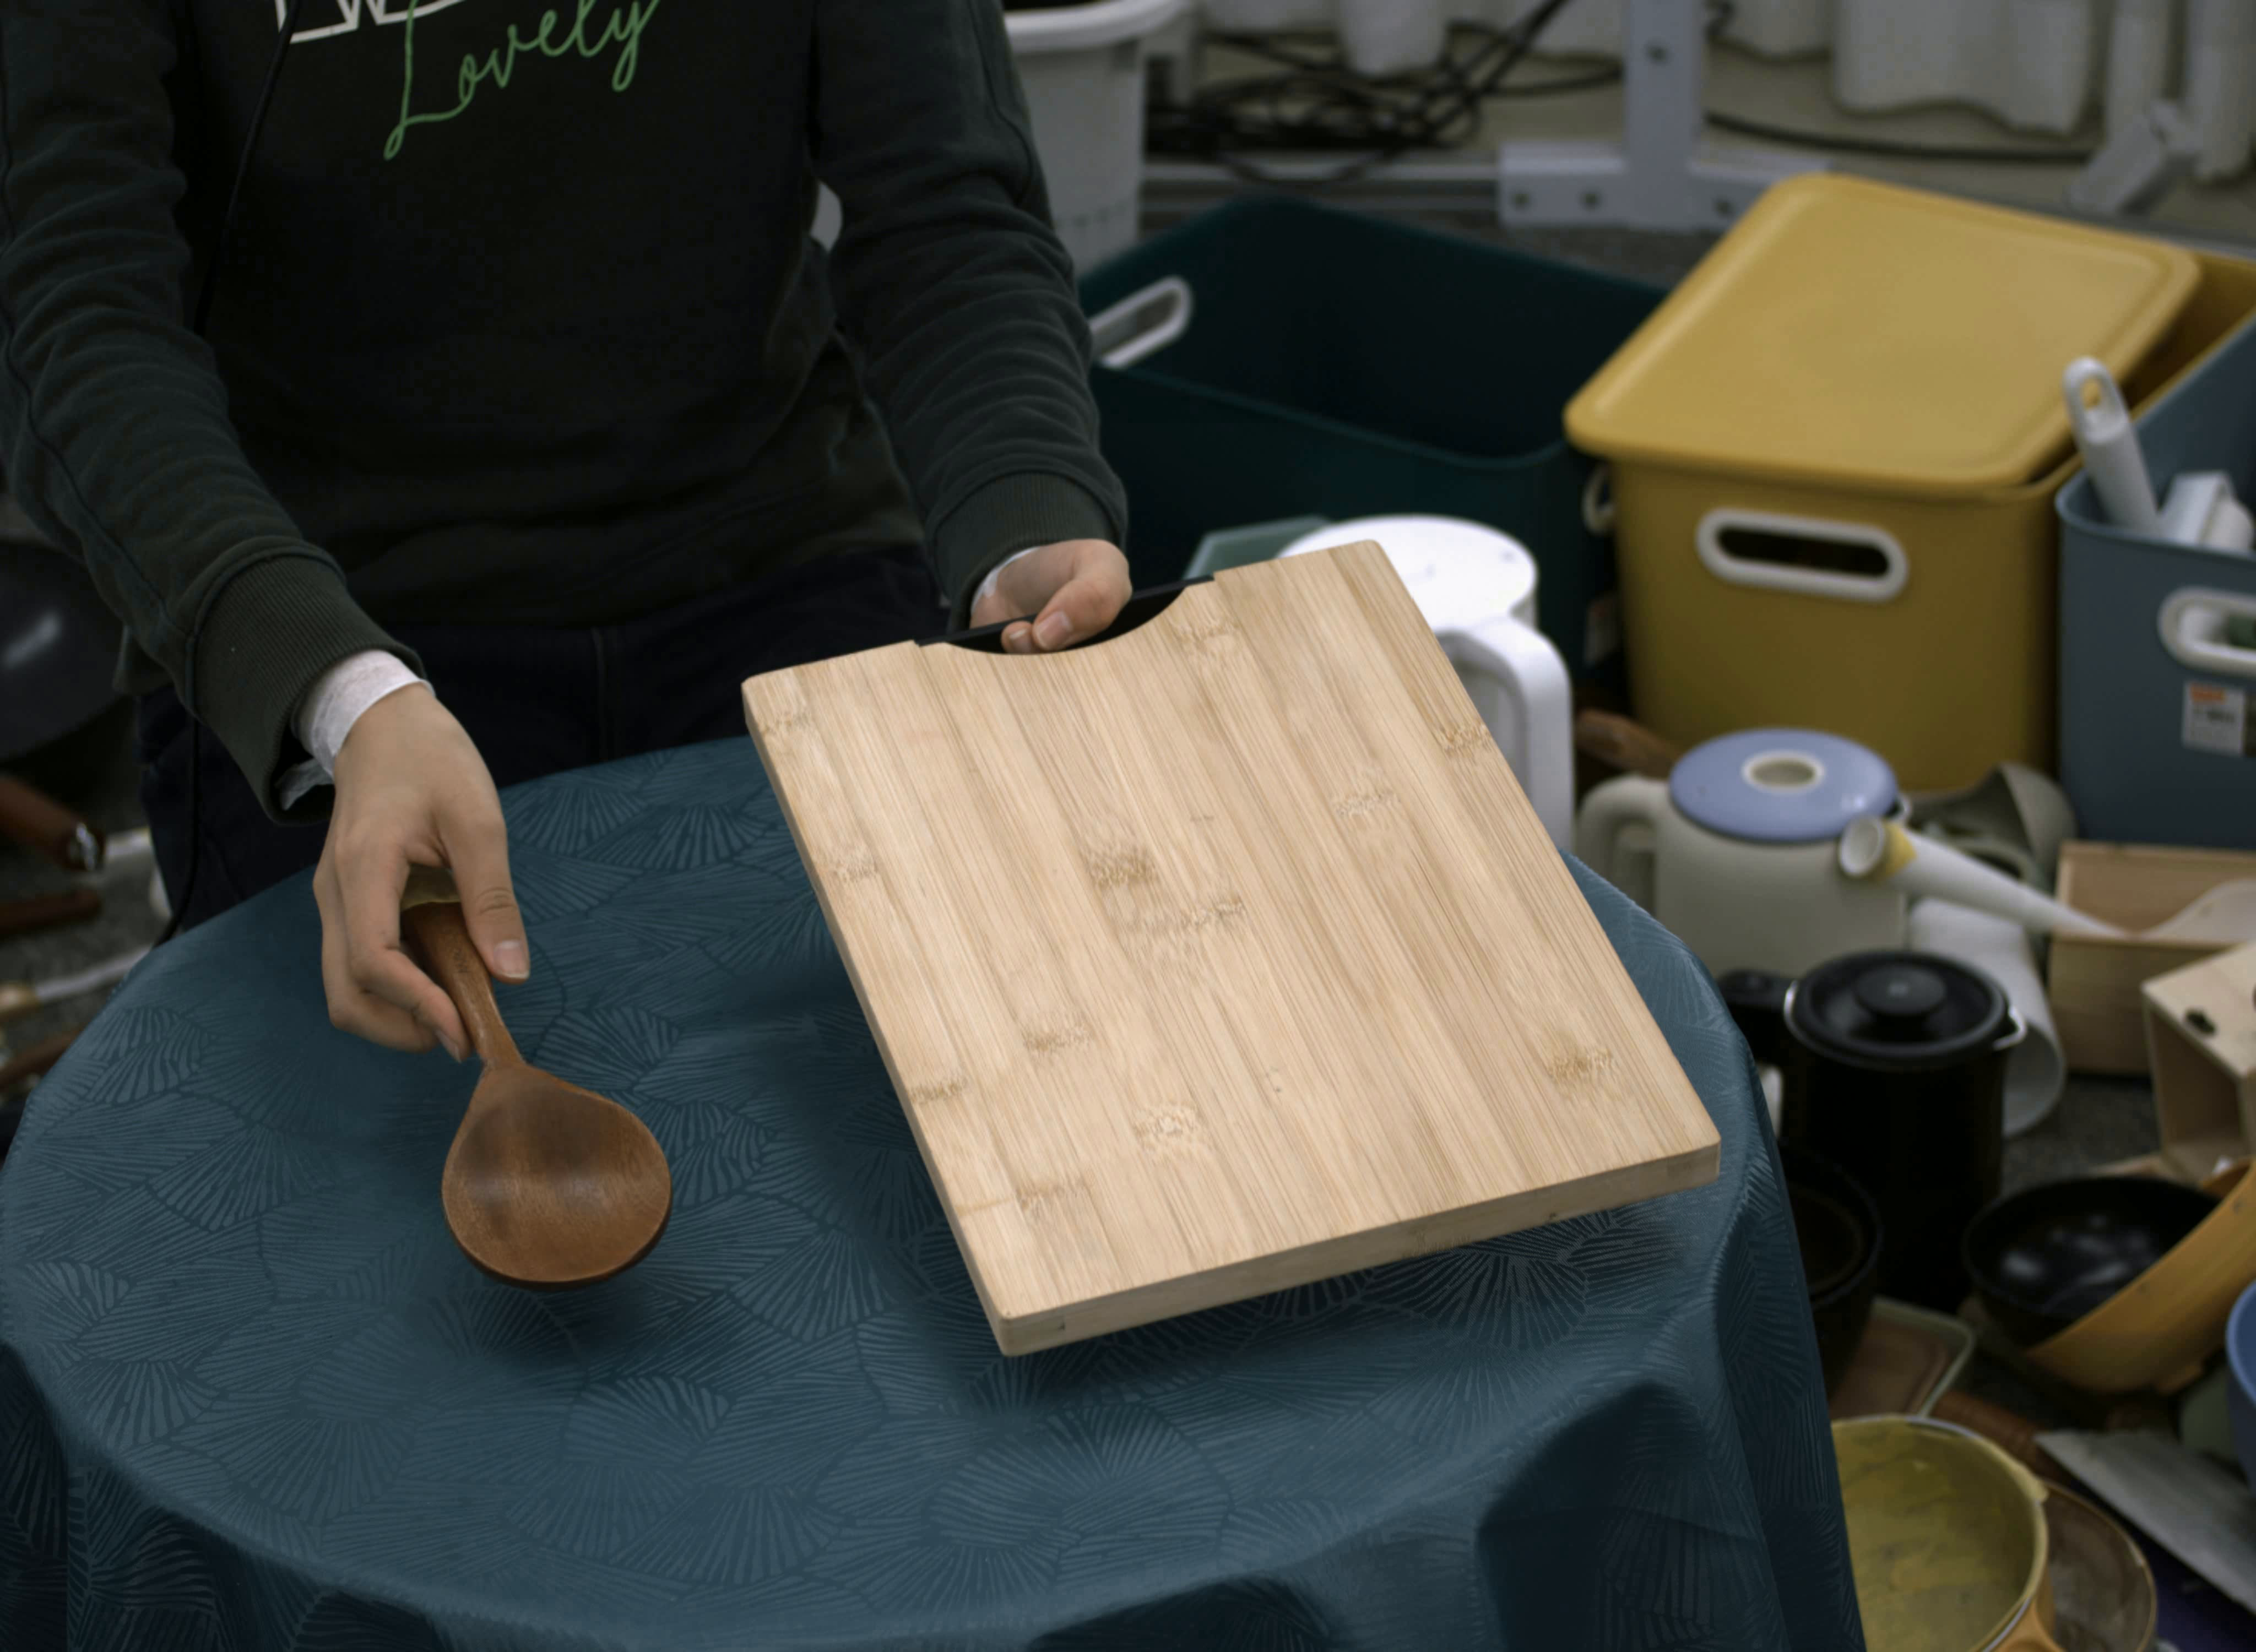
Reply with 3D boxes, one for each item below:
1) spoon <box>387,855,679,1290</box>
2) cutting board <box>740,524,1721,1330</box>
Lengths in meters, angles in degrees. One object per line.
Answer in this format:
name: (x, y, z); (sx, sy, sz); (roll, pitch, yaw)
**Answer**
spoon: (-0.204, 0.080, 1.848); (0.075, 0.017, 0.218); (-19, 44, -11)
cutting board: (0.025, 0.026, 1.893); (0.251, 0.023, 0.353); (-13, 40, -13)
